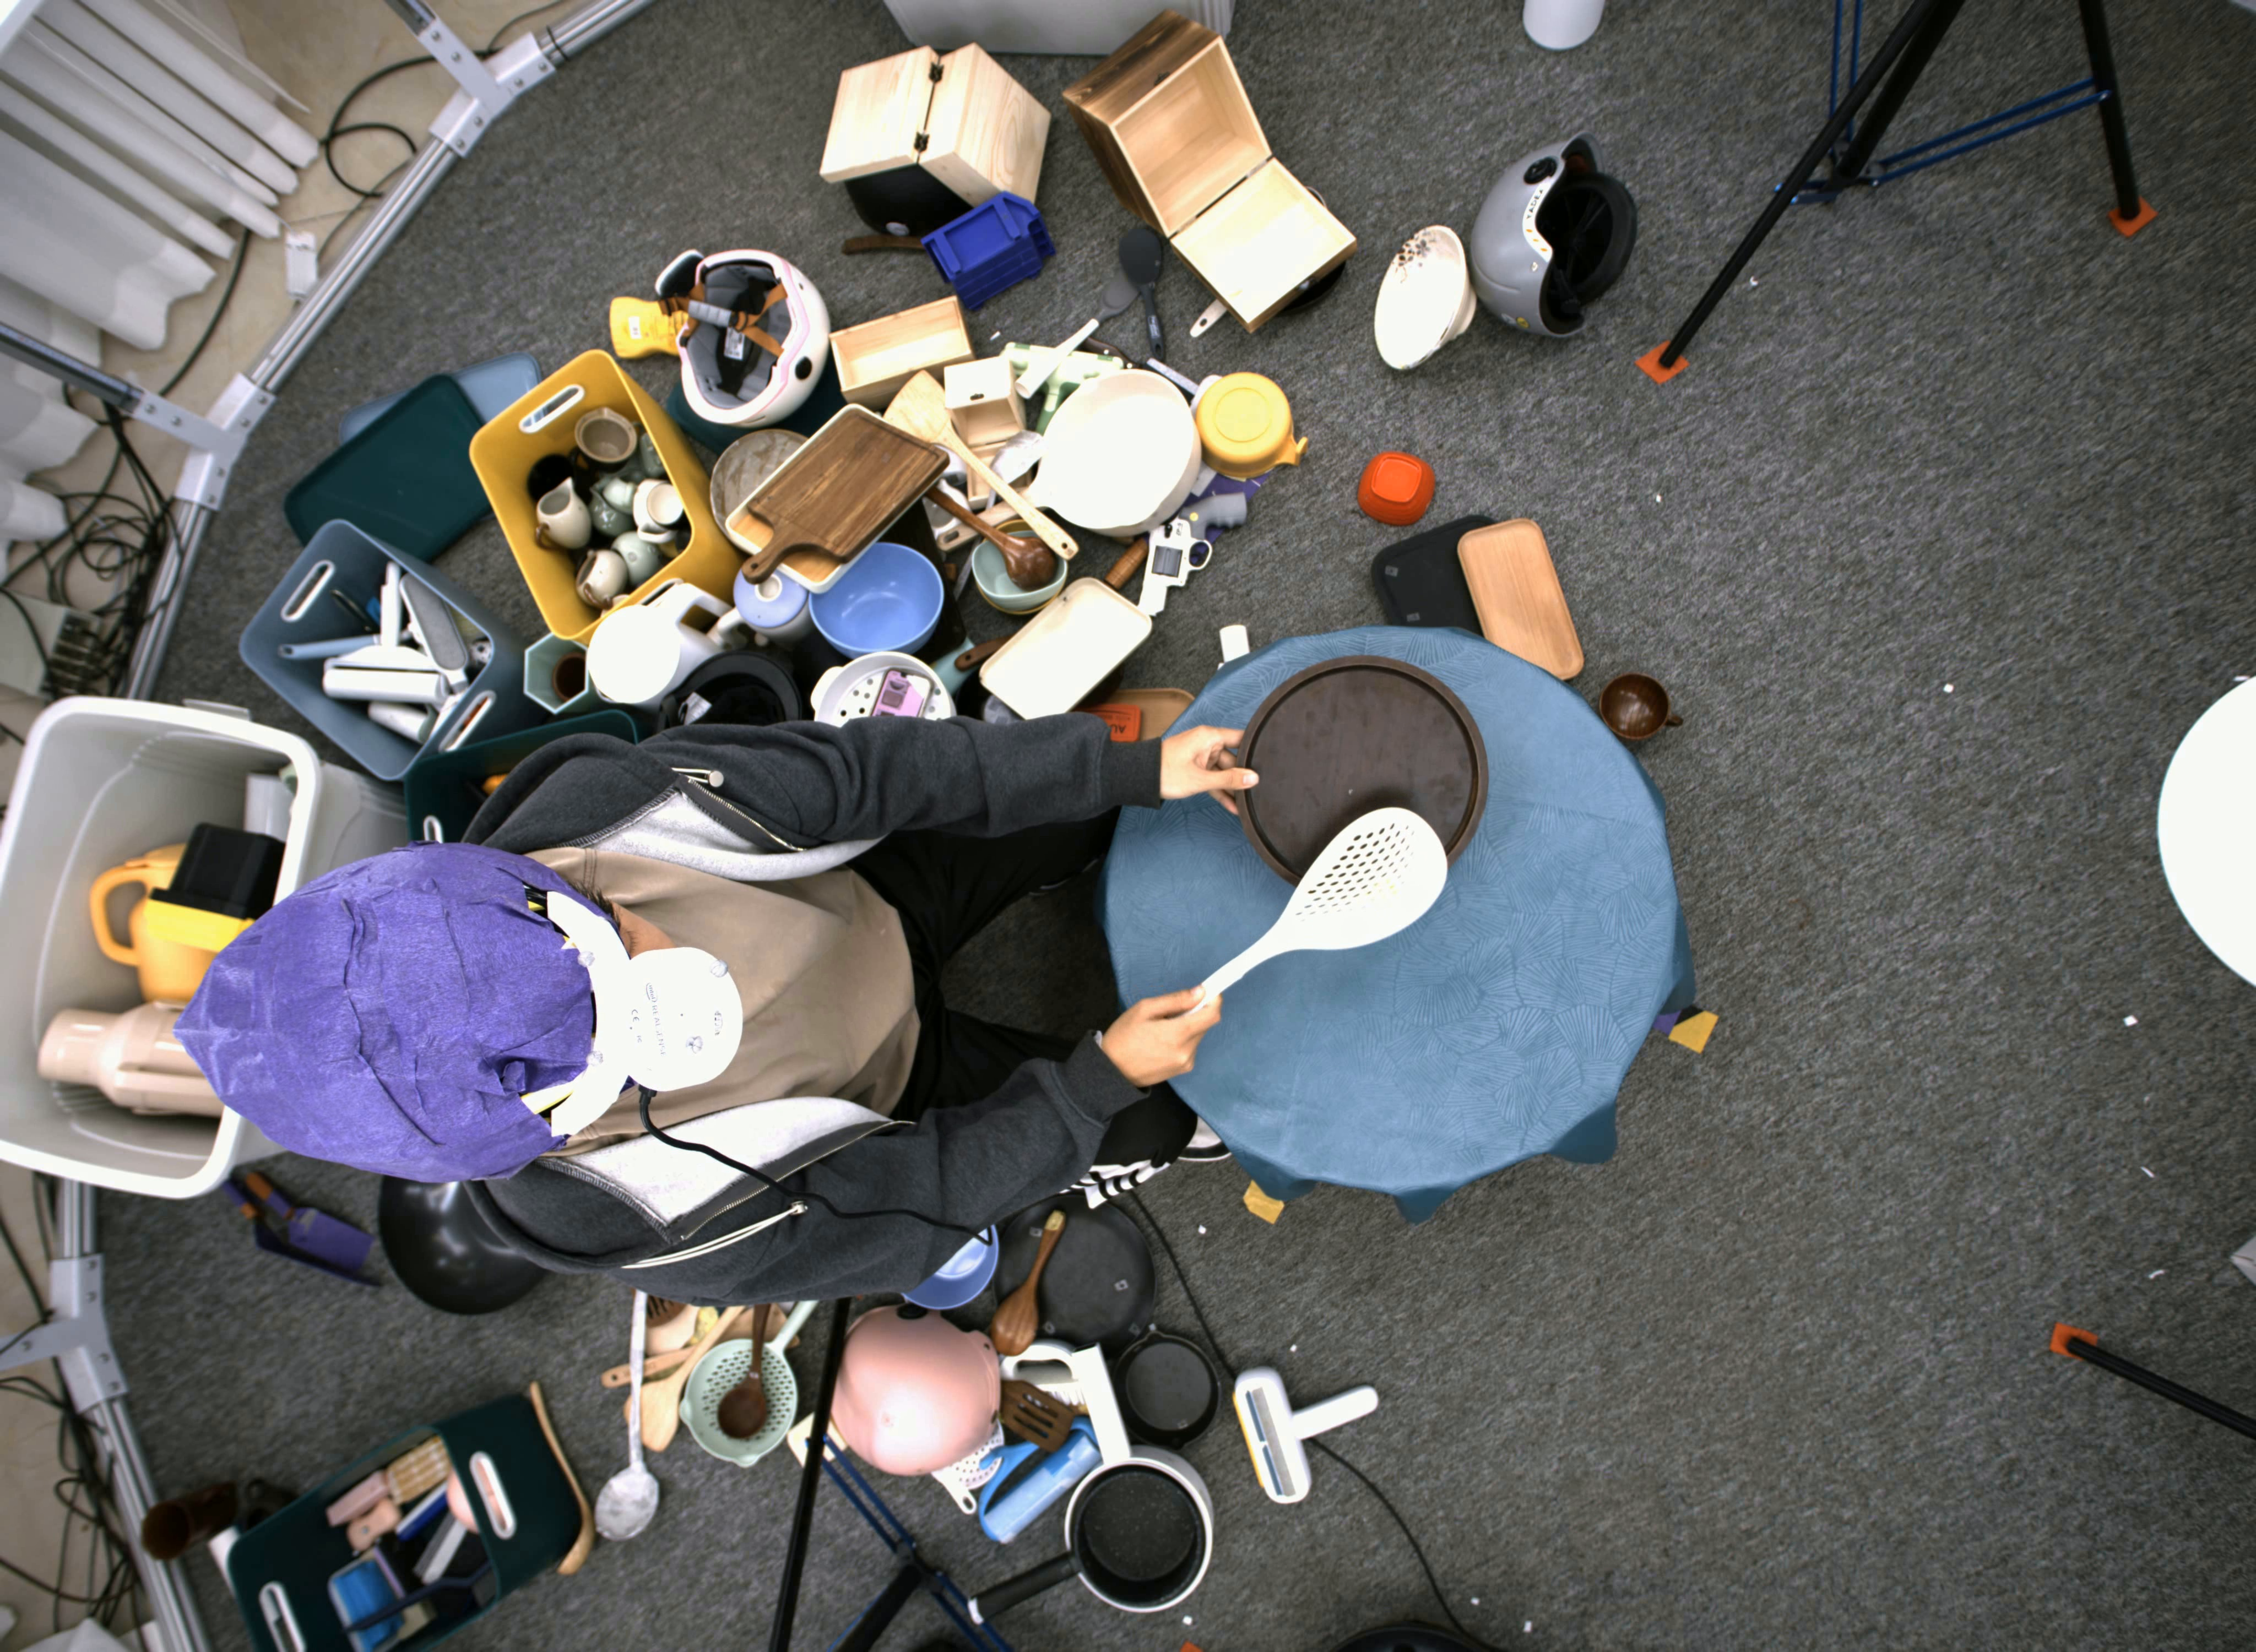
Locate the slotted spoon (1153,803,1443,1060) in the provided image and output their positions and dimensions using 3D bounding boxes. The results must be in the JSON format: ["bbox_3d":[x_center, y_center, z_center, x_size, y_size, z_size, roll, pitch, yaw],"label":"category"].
[{"bbox_3d":[0.153,0.110,1.330,0.350,0.051,0.134,-35,43,10],"label":"slotted spoon"}]

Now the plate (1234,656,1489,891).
[{"bbox_3d":[0.233,-0.046,1.378,0.255,0.028,0.258,1,106,5],"label":"plate"}]
